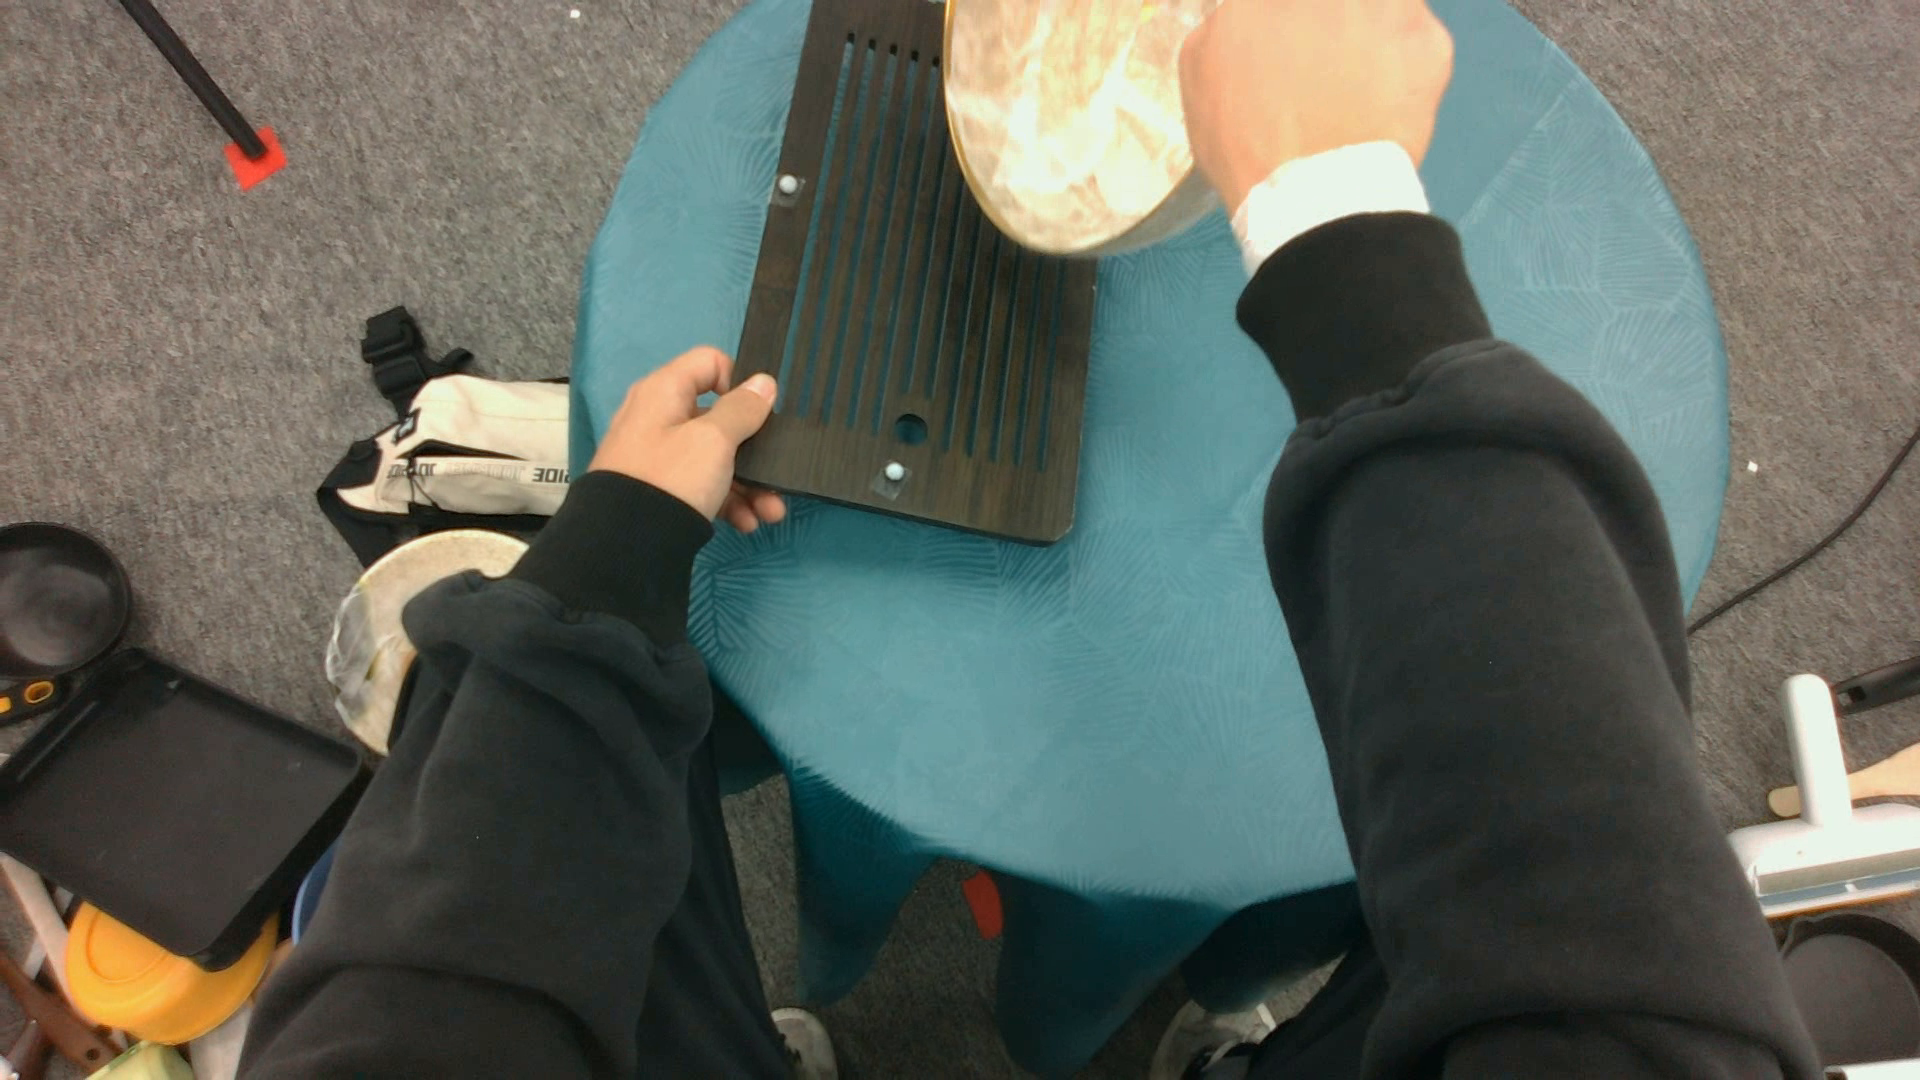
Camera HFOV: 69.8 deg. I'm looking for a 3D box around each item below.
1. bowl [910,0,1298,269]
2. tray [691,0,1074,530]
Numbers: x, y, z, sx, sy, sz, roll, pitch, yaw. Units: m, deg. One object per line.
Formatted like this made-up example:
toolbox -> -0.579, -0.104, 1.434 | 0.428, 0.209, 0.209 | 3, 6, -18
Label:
bowl -> 0.075, -0.226, 0.618 | 0.095, 0.213, 0.215 | -5, 66, -38
tray -> -0.025, -0.156, 0.697 | 0.170, 0.018, 0.307 | 12, 65, -10
